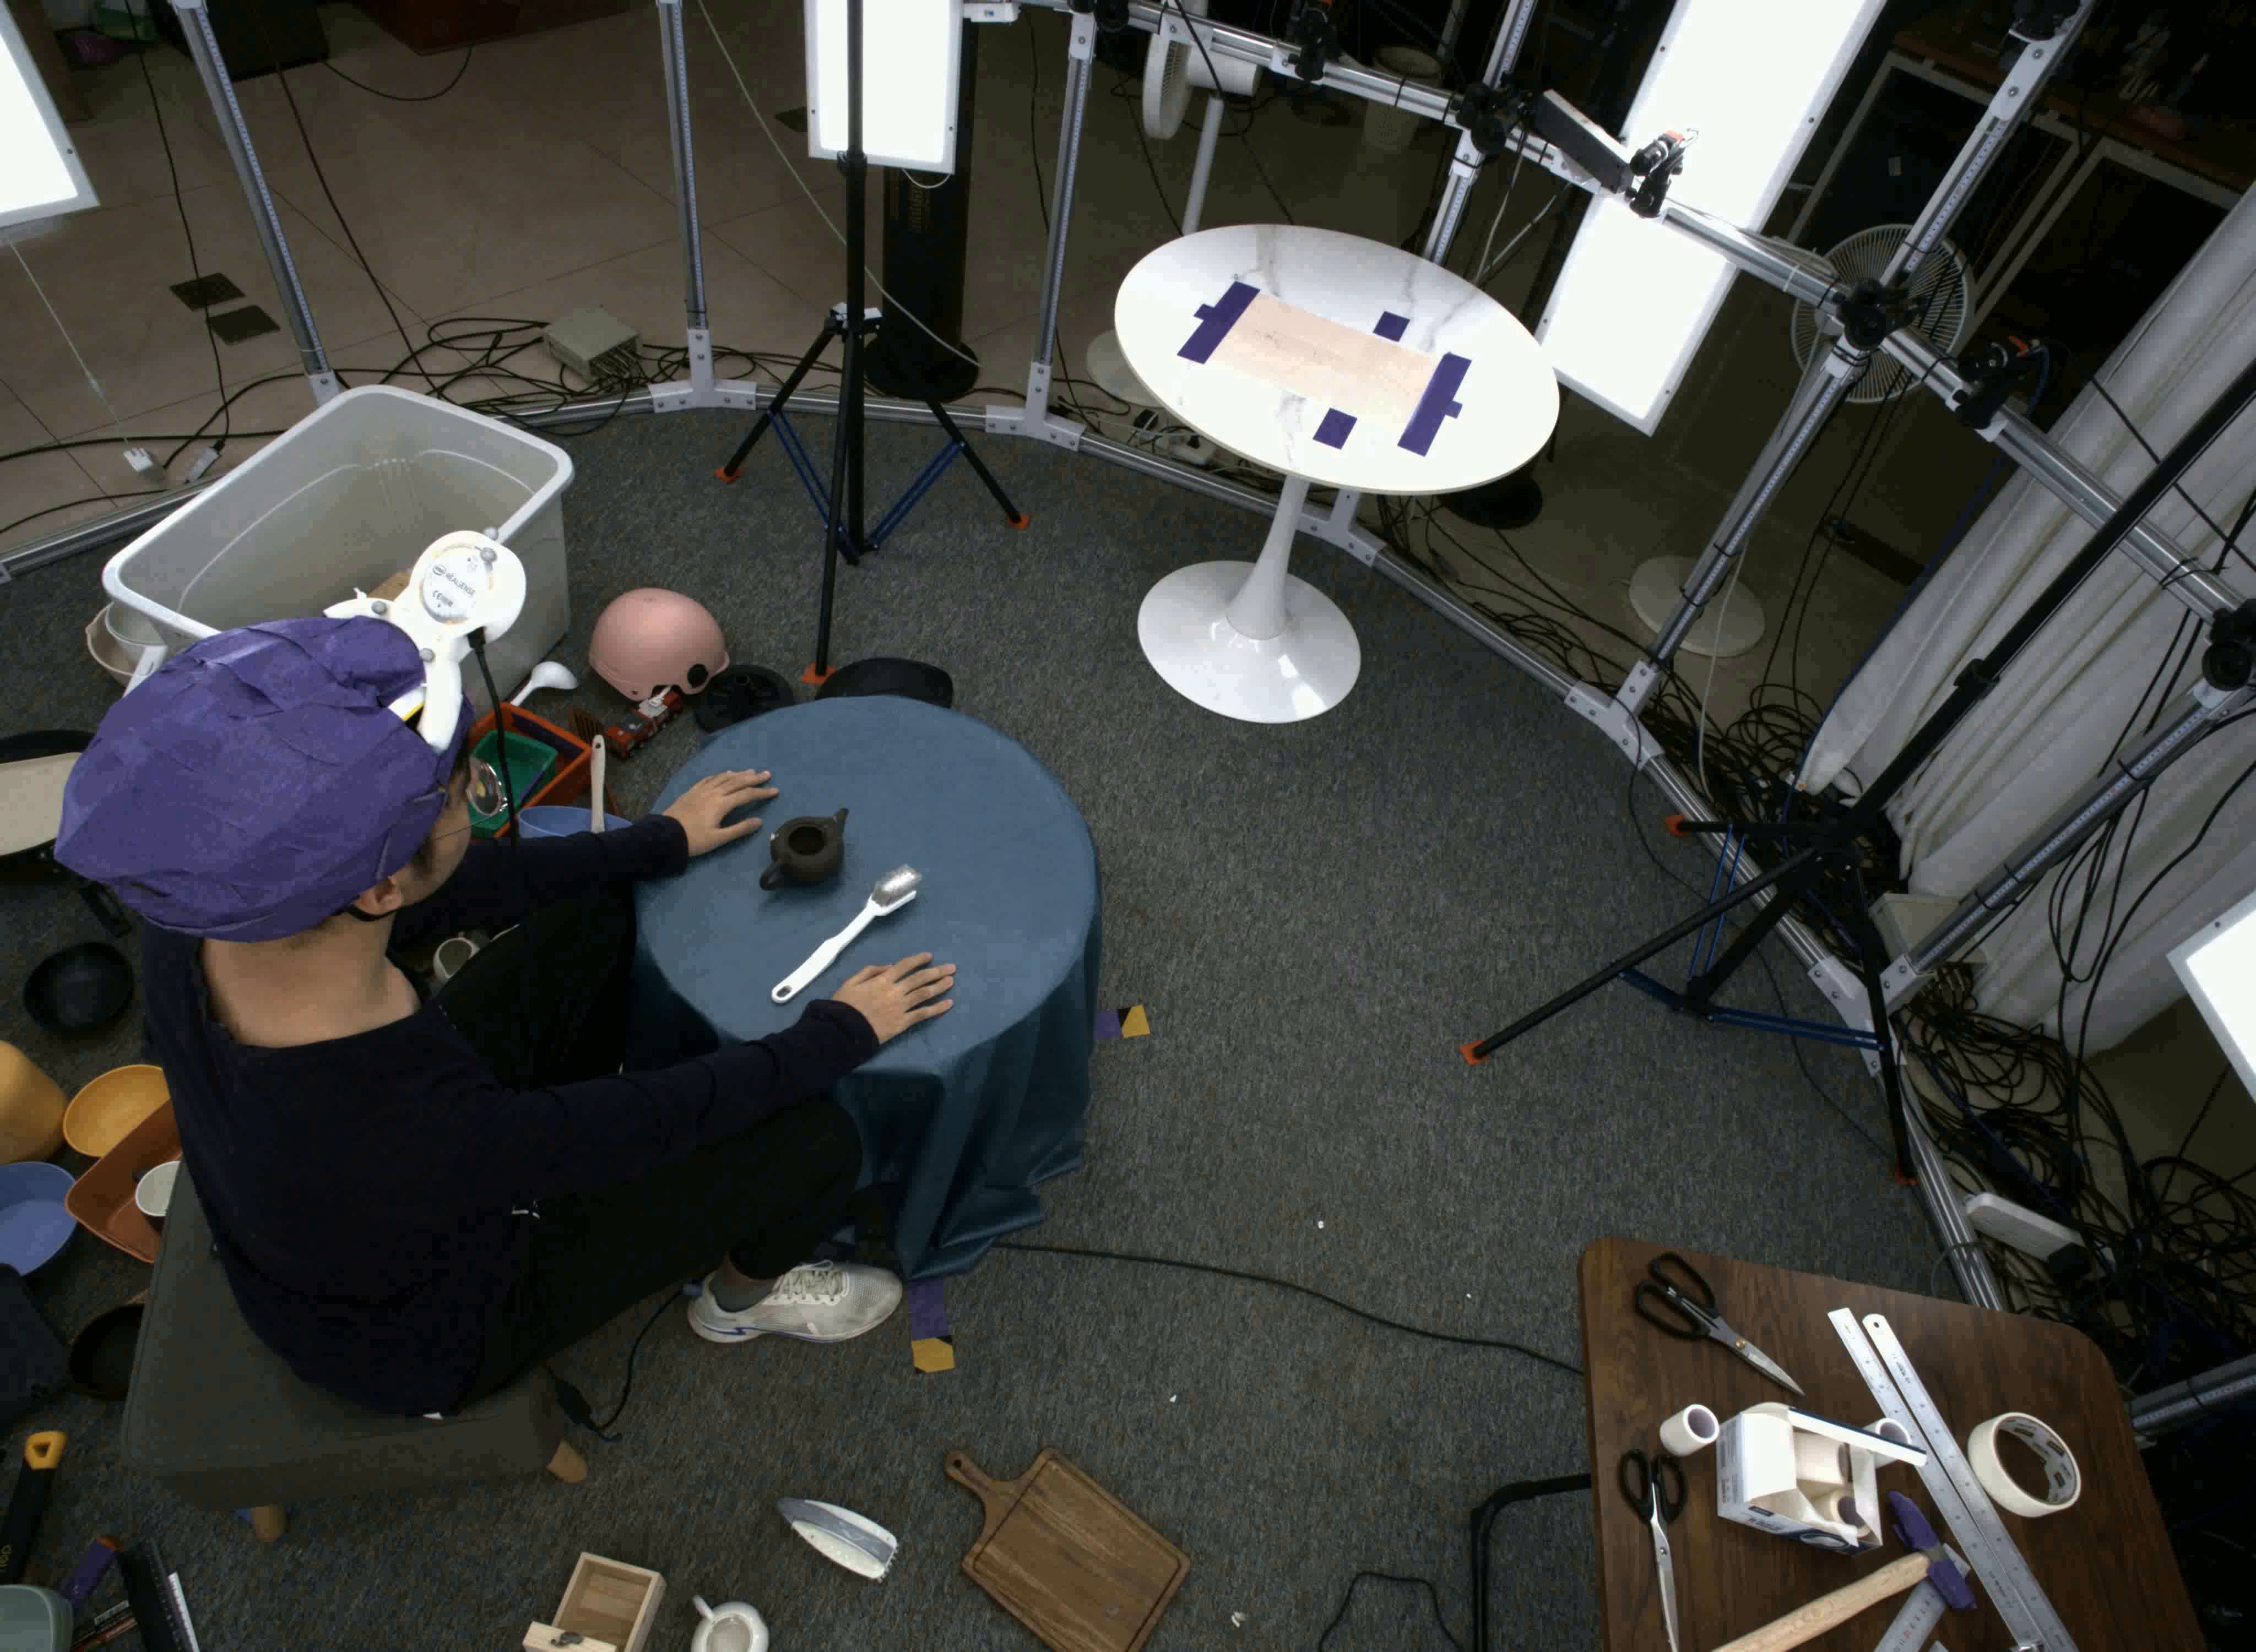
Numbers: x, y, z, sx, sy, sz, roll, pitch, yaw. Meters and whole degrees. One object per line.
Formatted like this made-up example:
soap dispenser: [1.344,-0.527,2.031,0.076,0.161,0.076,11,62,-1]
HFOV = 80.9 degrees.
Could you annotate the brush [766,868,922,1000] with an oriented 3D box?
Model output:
brush: [-0.352,0.129,1.617,0.034,0.051,0.244,41,55,14]

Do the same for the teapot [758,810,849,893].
teapot: [-0.414,0.034,1.663,0.090,0.066,0.154,36,55,14]
